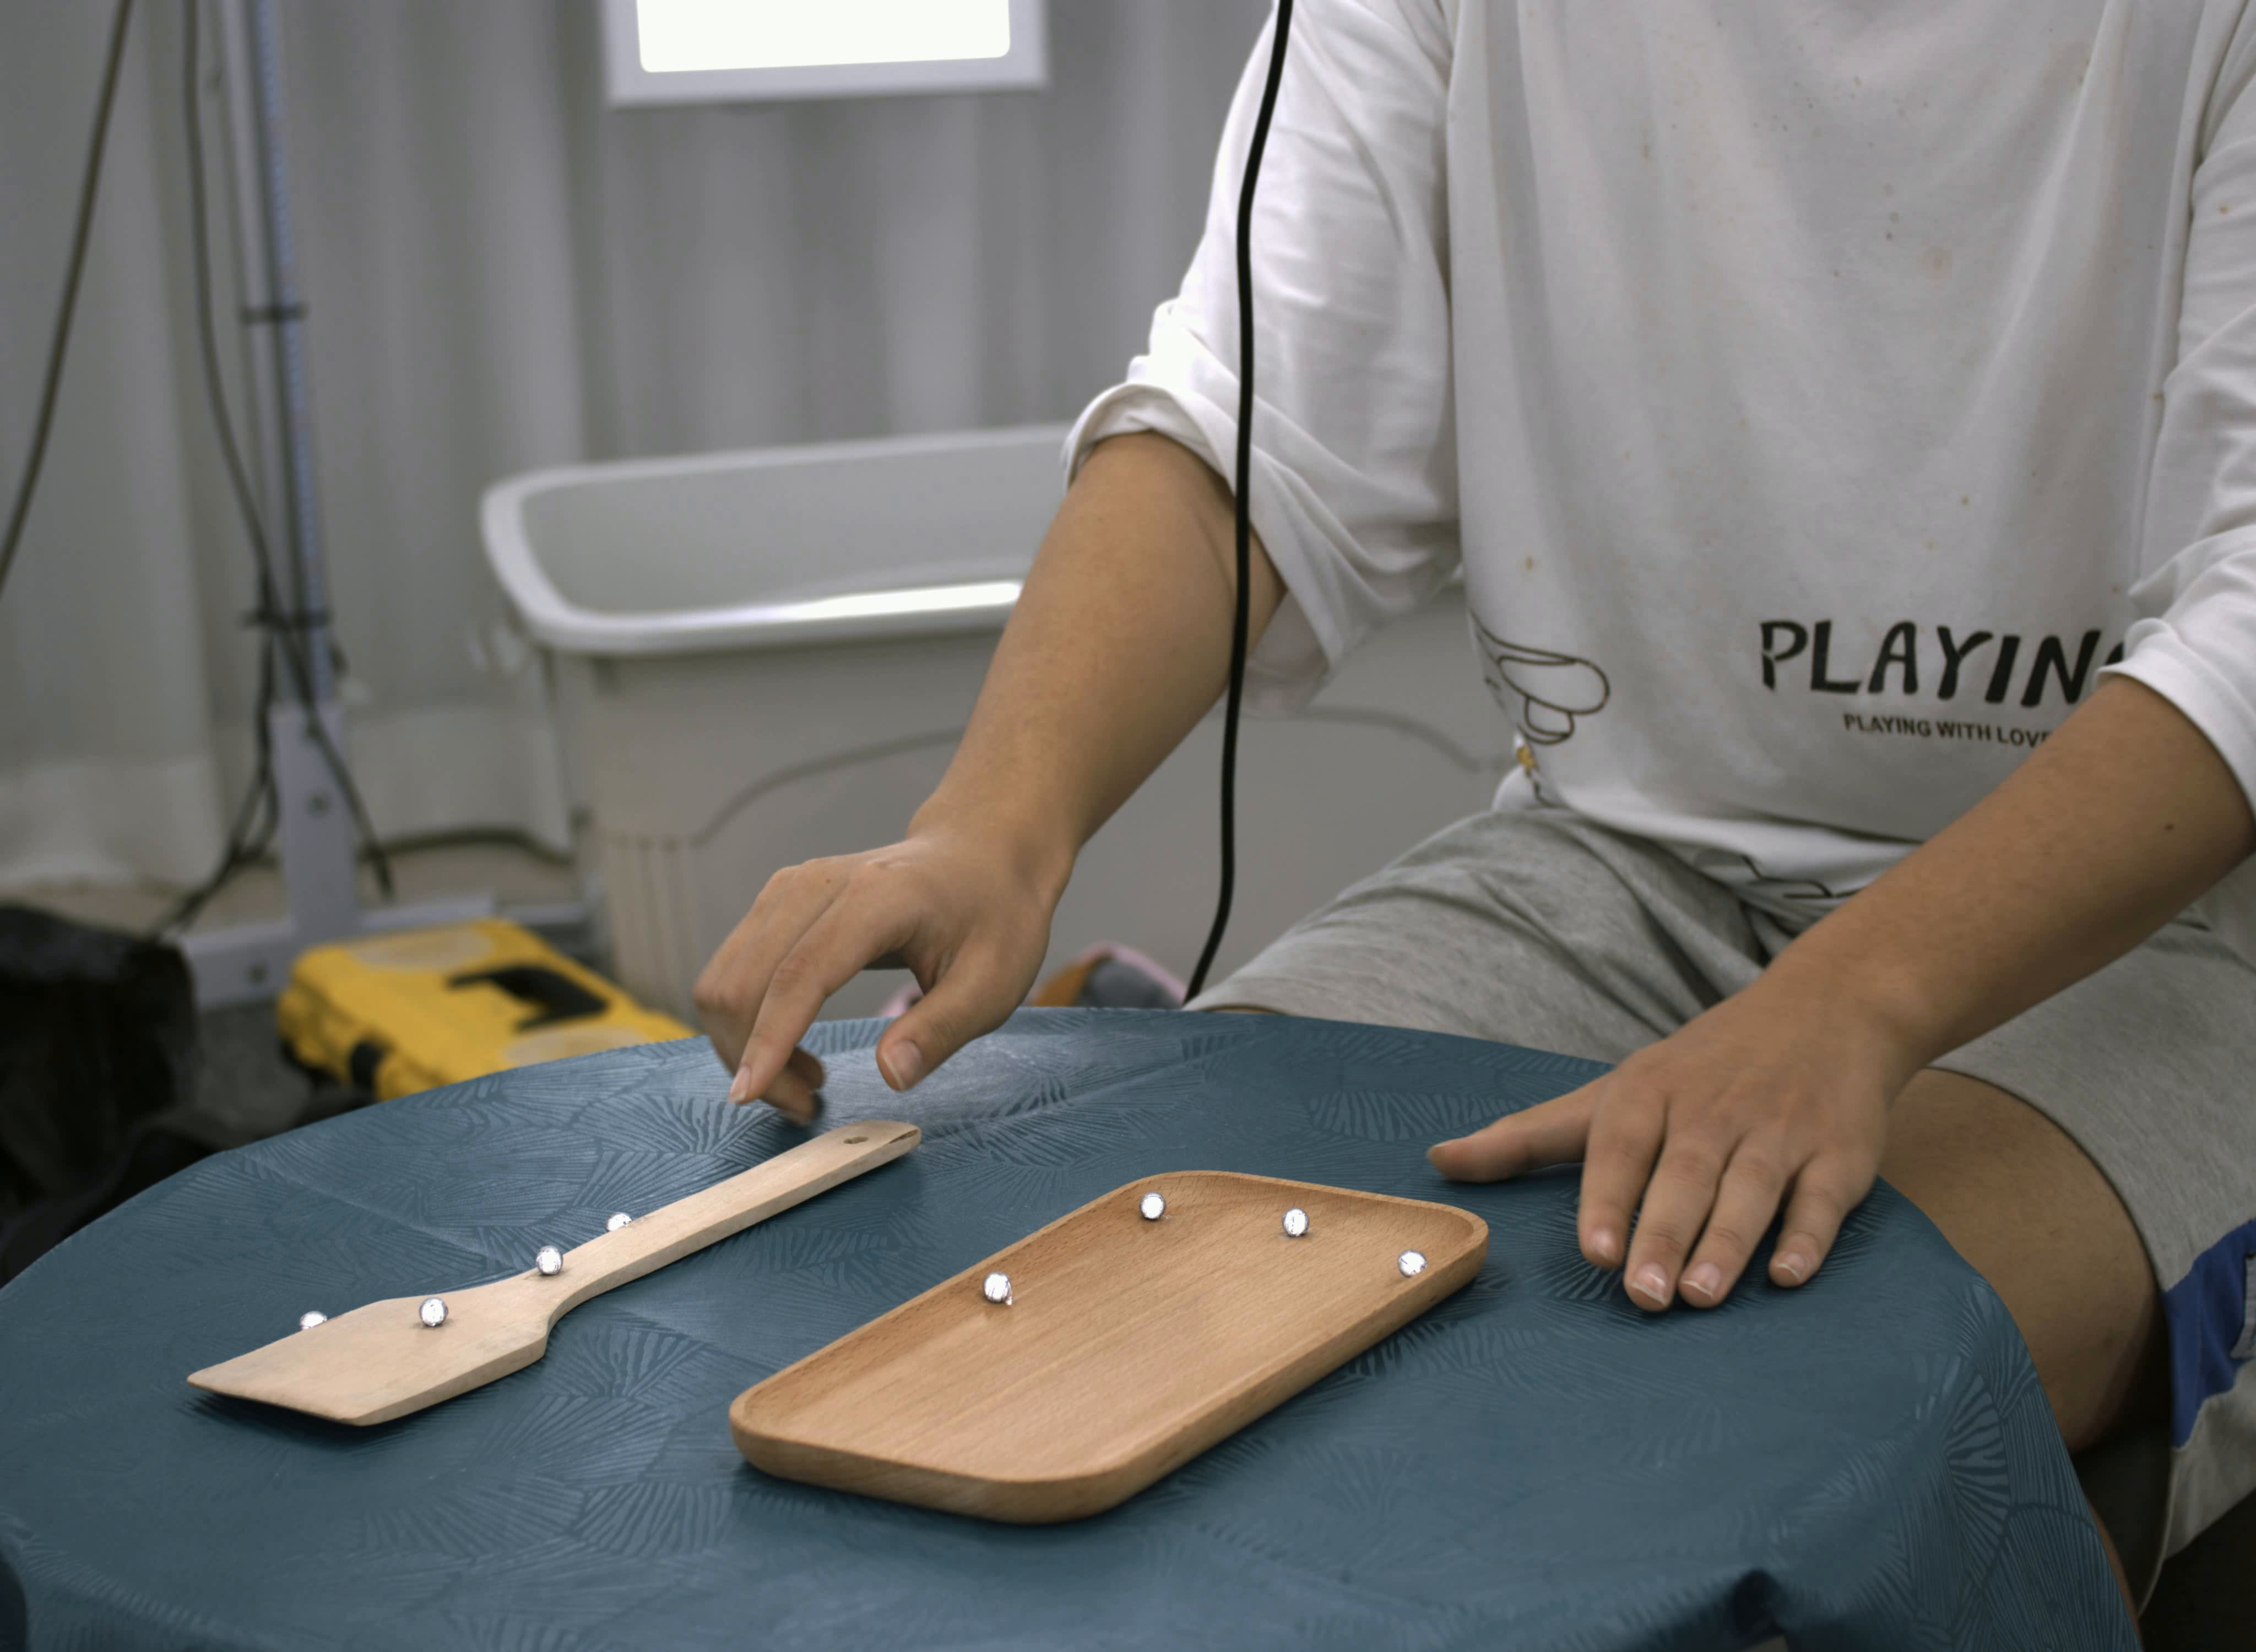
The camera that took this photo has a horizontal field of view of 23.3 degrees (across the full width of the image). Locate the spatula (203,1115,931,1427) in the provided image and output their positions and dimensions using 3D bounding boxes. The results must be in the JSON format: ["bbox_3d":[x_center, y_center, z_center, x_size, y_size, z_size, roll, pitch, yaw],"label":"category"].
[{"bbox_3d":[-0.157,0.132,1.663,0.072,0.010,0.293,6,17,35],"label":"spatula"}]

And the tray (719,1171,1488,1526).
[{"bbox_3d":[-0.003,0.147,1.567,0.131,0.023,0.251,4,17,33],"label":"tray"}]
